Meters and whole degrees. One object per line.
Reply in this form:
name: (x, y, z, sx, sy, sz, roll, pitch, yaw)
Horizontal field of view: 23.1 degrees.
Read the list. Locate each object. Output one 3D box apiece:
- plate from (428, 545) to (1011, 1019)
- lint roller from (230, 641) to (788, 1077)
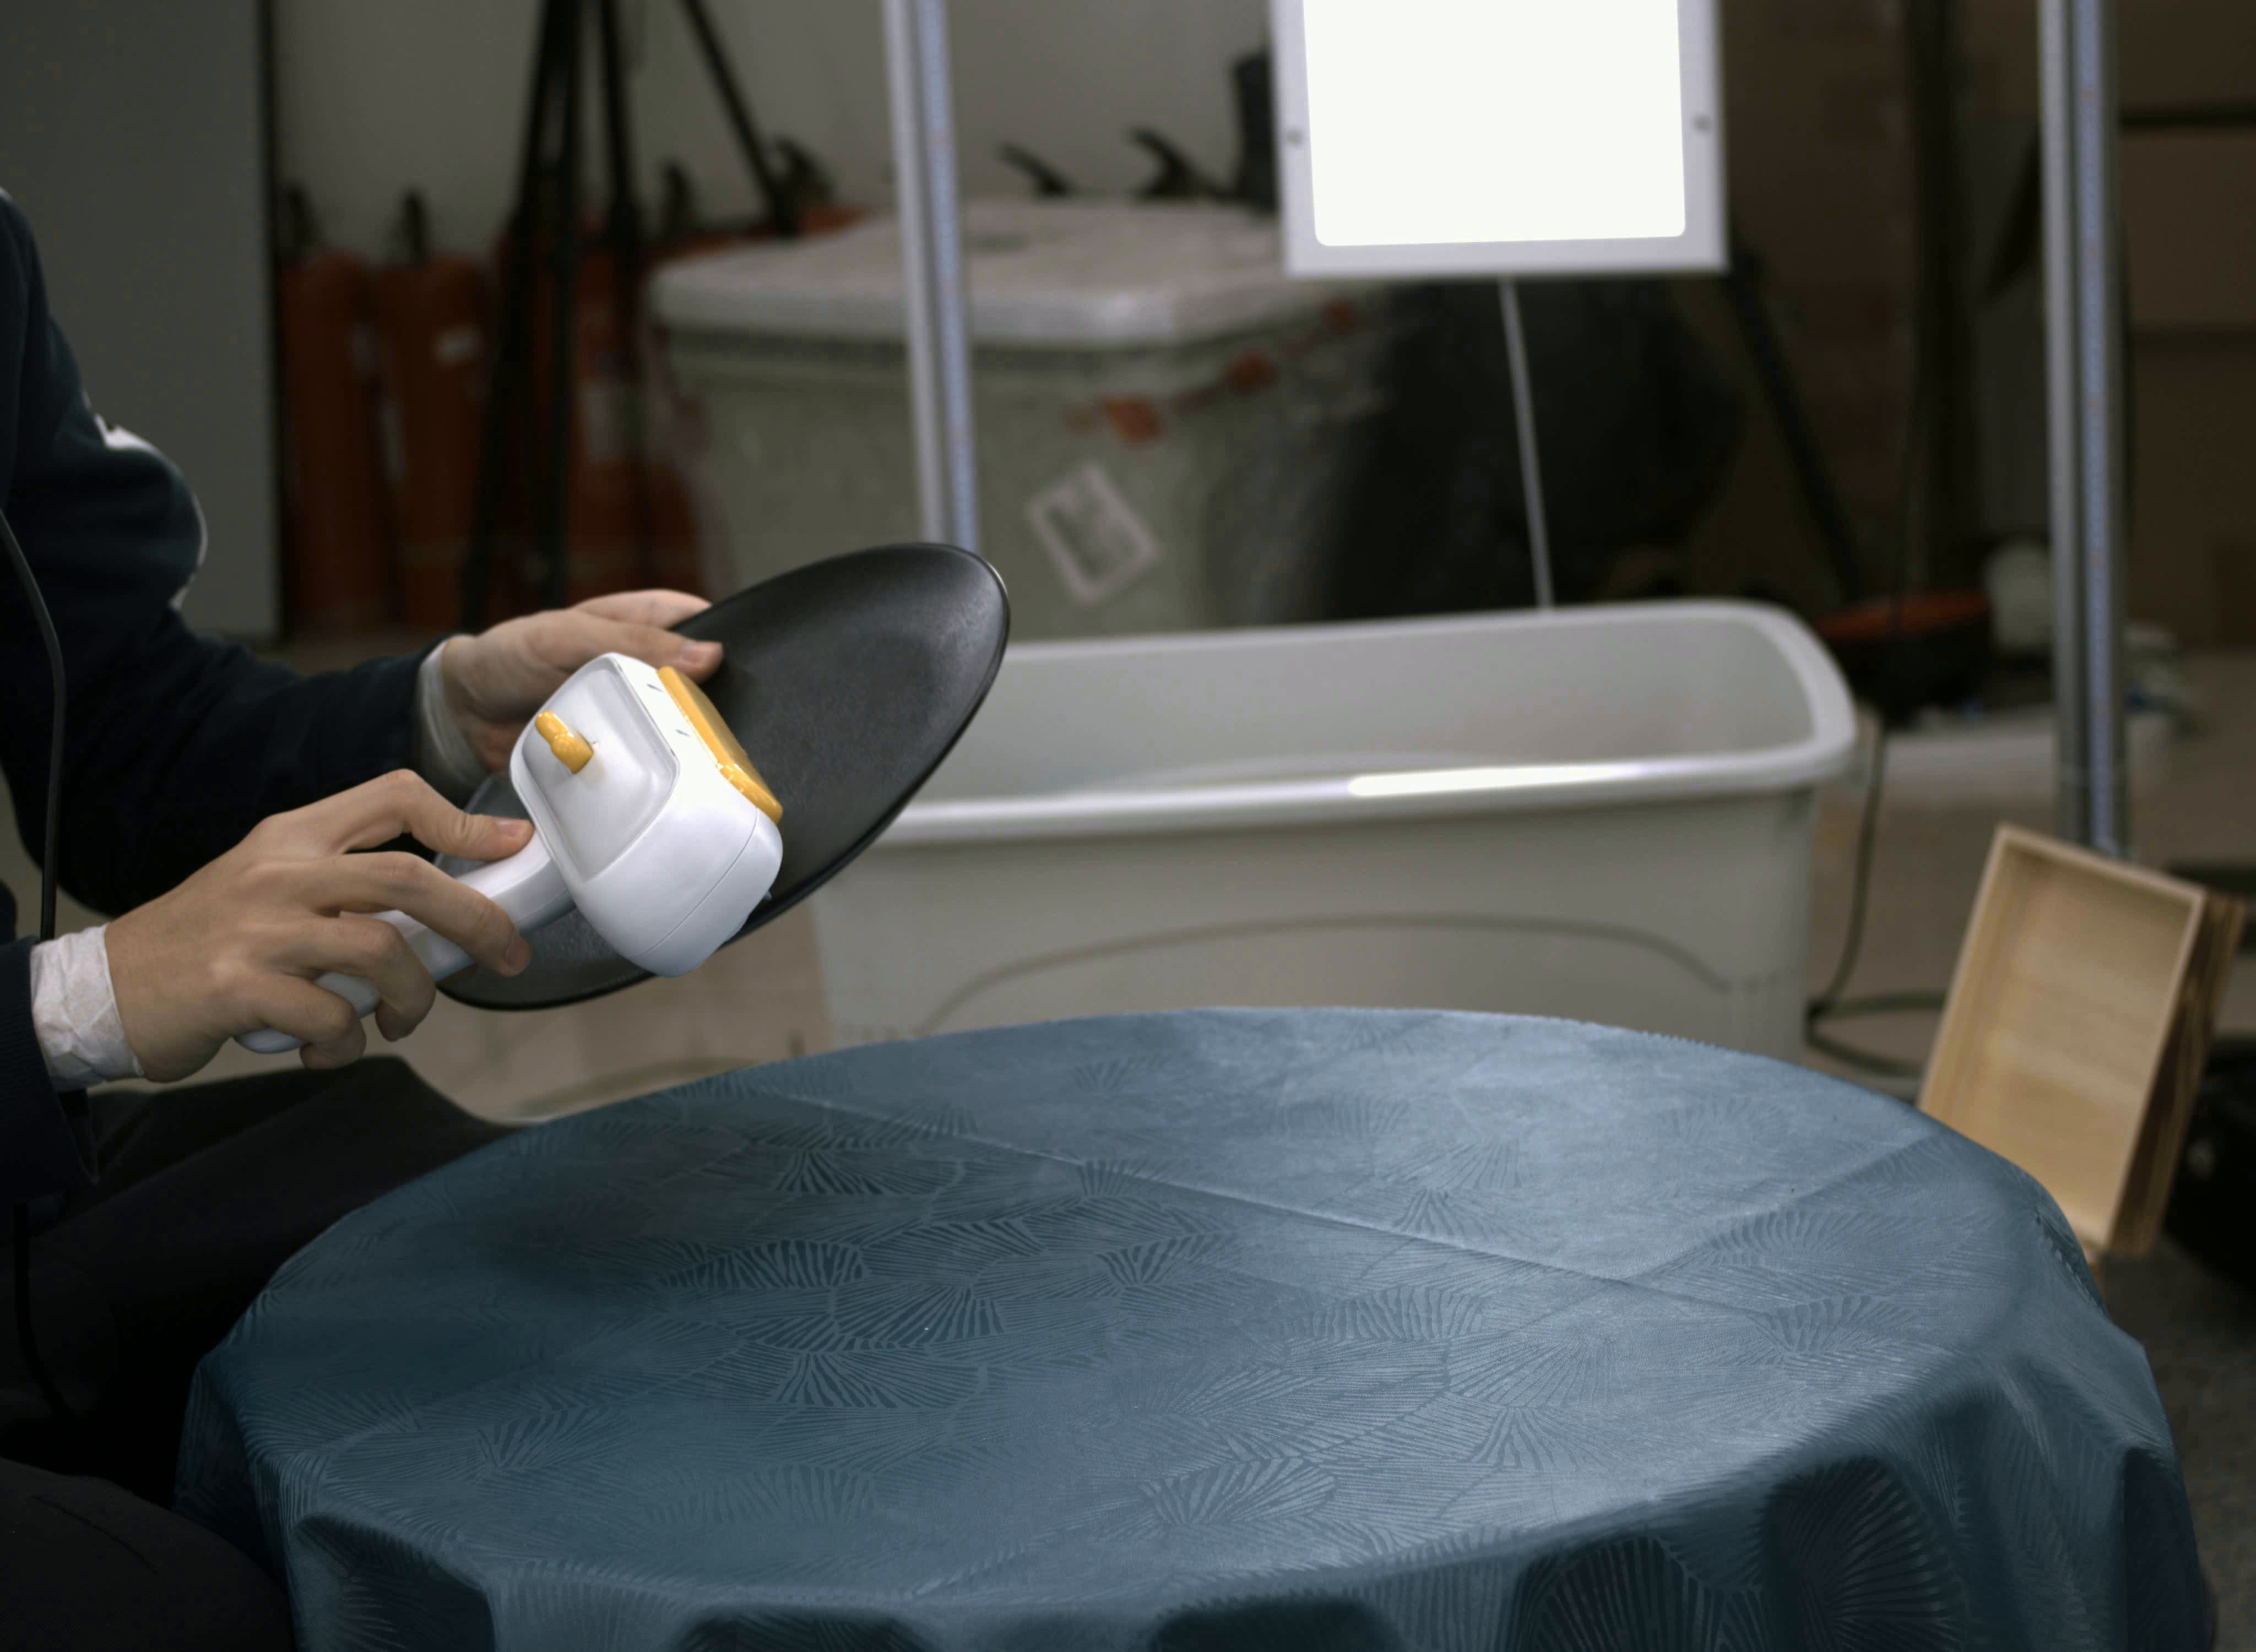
plate: (-0.140, -0.011, 1.923, 0.247, 0.023, 0.244, -28, 28, 14)
lint roller: (-0.210, 0.025, 1.834, 0.192, 0.073, 0.195, -42, 26, -2)
